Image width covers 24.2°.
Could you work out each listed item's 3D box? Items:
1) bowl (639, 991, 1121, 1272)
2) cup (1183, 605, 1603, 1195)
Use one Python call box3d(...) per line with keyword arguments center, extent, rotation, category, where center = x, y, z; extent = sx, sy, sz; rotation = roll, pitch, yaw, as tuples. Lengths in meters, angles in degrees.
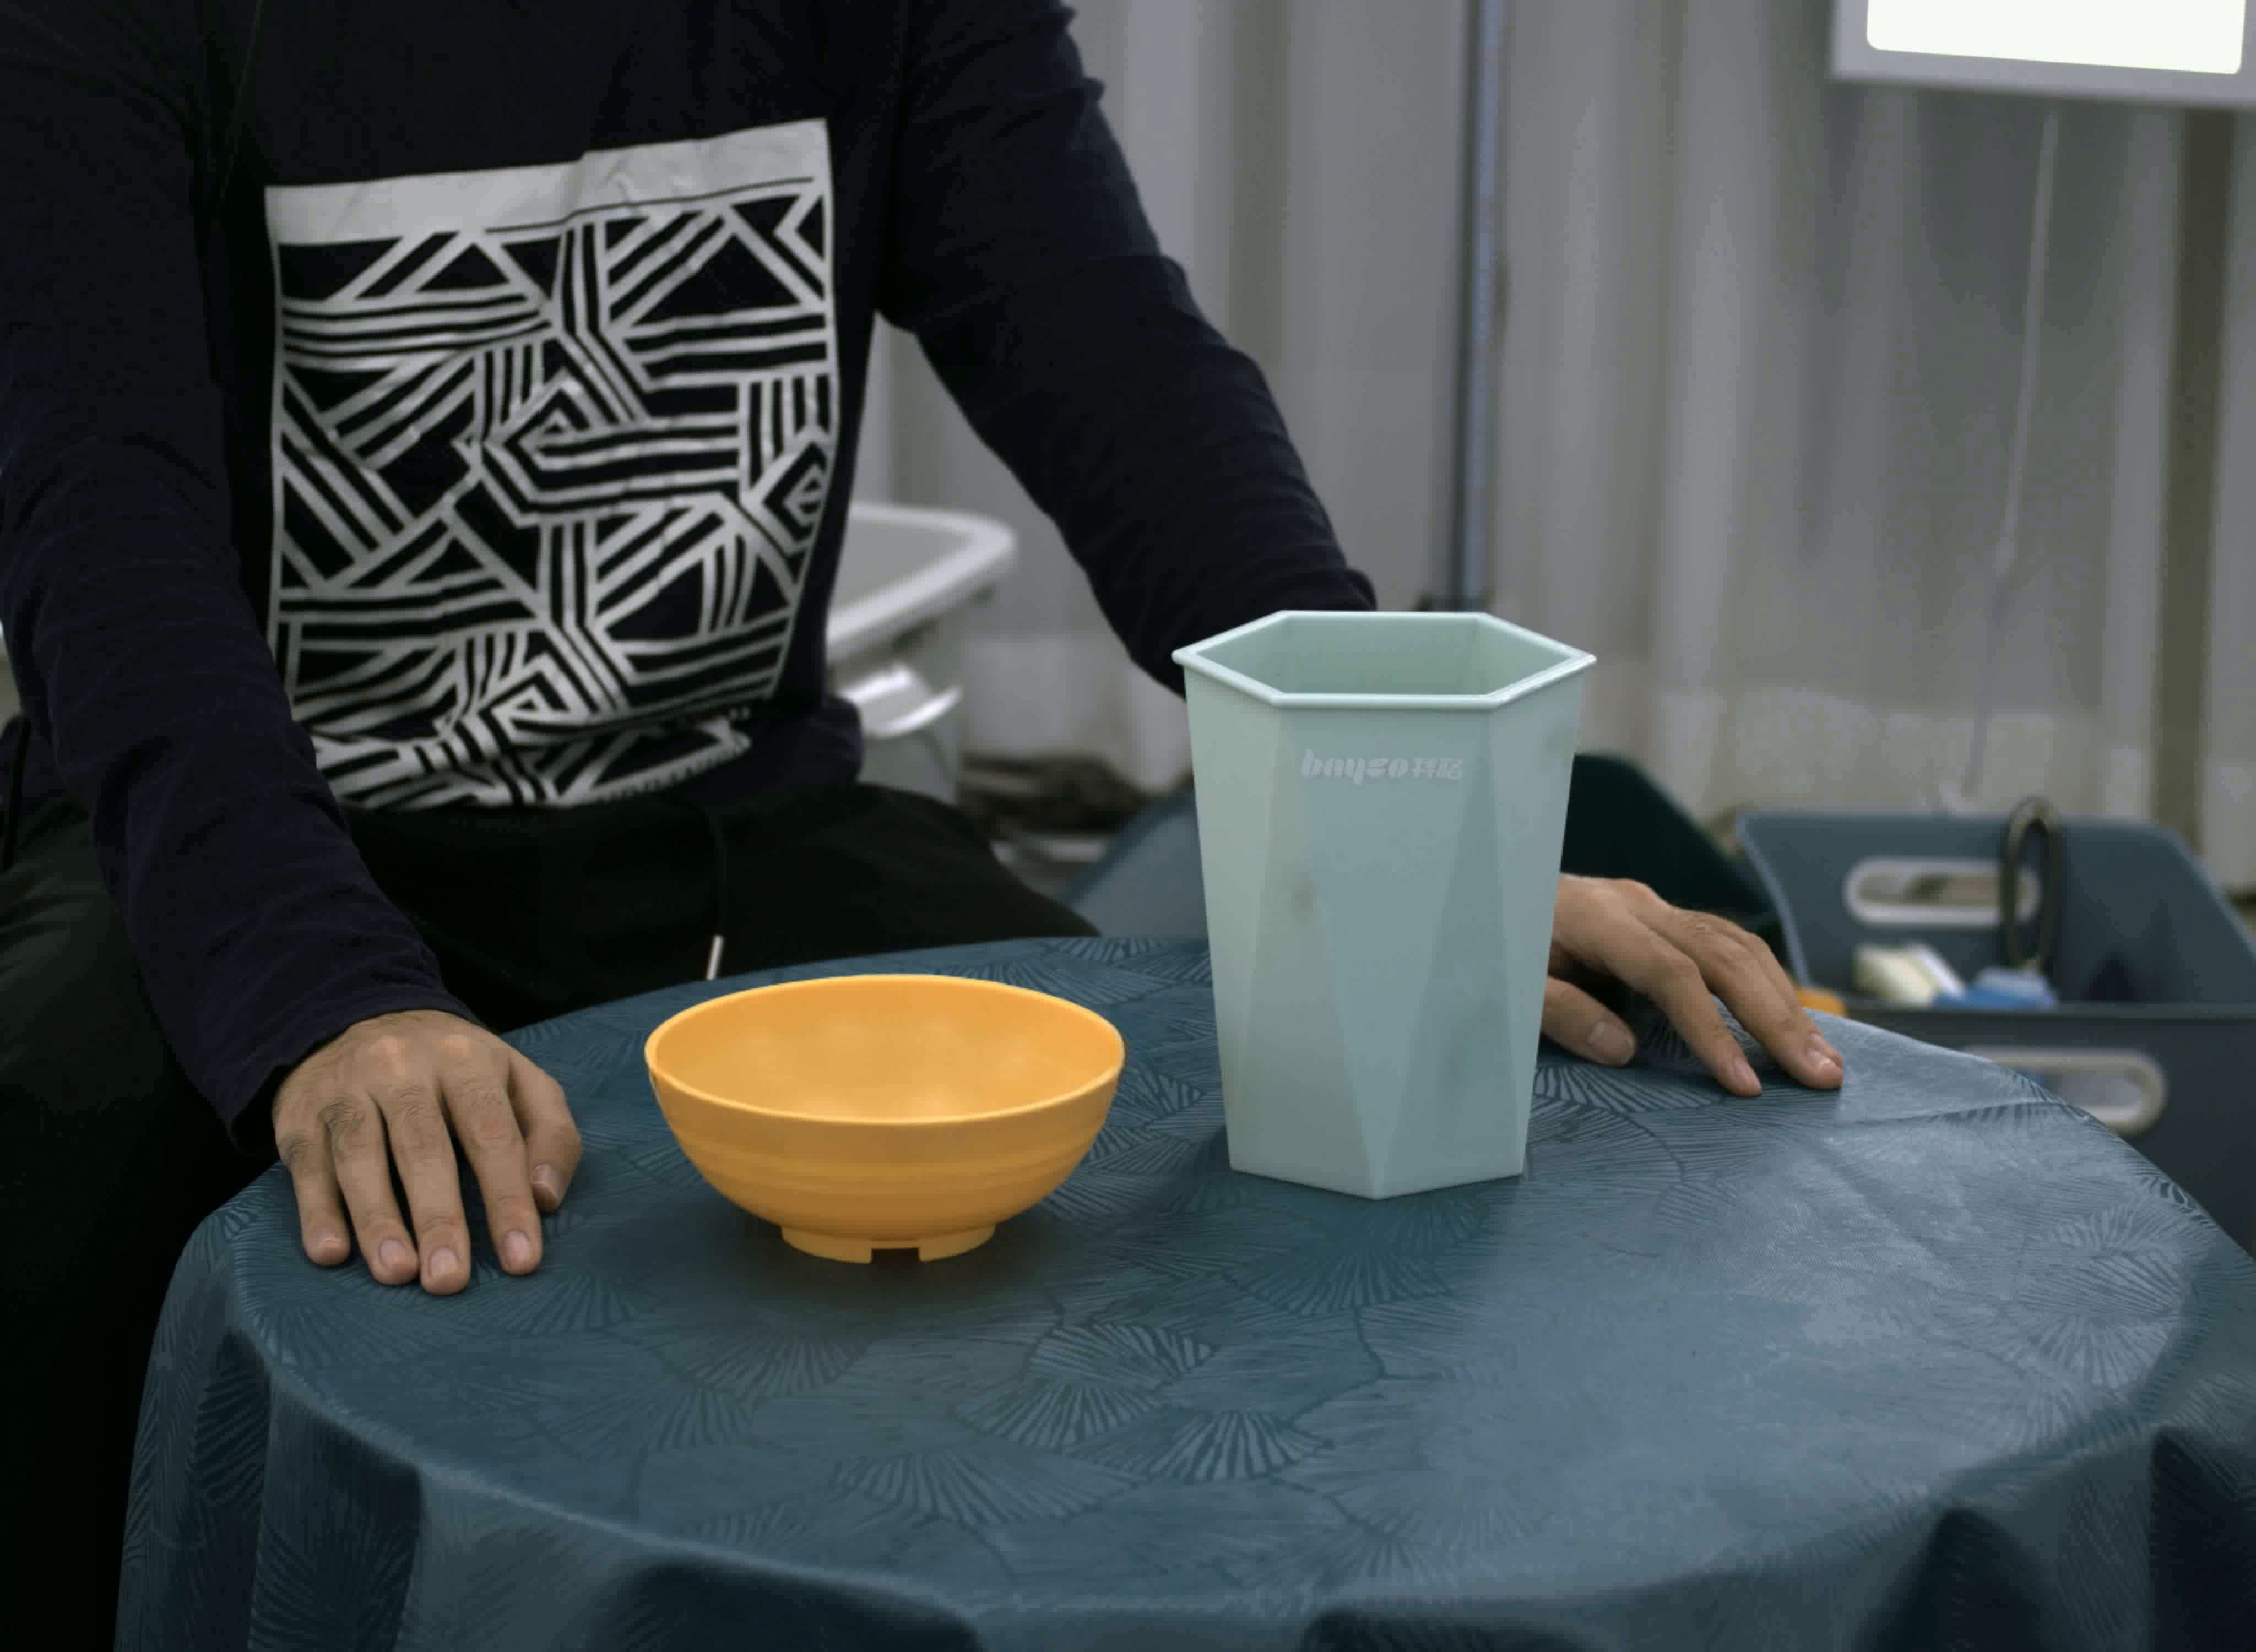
box3d(center=(-0.074, 0.096, 1.582), extent=(0.145, 0.060, 0.144), rotation=(1, 13, 0), category="bowl")
box3d(center=(0.081, 0.023, 1.646), extent=(0.130, 0.164, 0.114), rotation=(1, 15, 0), category="cup")
